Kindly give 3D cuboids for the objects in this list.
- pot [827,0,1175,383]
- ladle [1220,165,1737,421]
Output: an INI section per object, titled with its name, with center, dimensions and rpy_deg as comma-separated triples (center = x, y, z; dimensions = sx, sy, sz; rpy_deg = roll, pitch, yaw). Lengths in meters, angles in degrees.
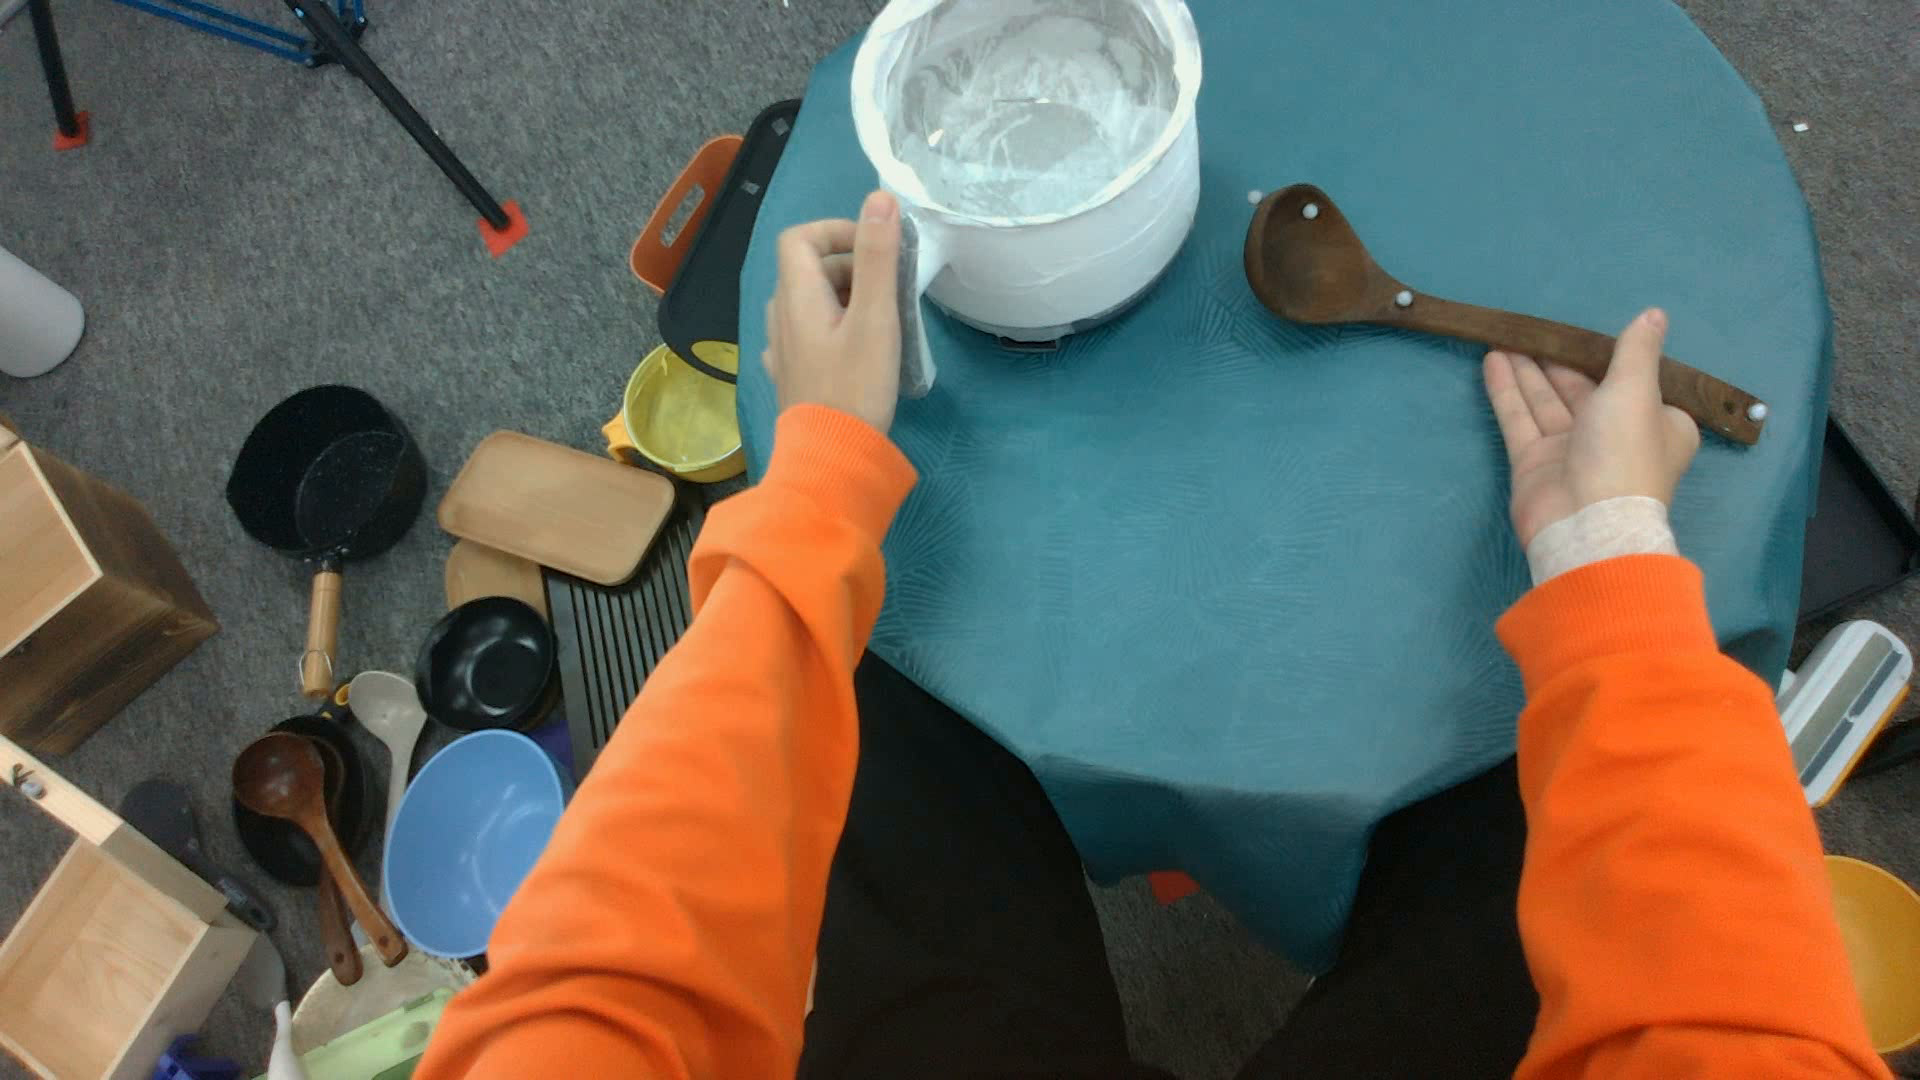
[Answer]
[pot]
center = 0.012, -0.197, 0.746
dimensions = 0.179, 0.136, 0.234
rpy_deg = 31, 76, 19
[ladle]
center = 0.269, -0.127, 0.716
dimensions = 0.274, 0.071, 0.076
rpy_deg = 21, 77, 17
